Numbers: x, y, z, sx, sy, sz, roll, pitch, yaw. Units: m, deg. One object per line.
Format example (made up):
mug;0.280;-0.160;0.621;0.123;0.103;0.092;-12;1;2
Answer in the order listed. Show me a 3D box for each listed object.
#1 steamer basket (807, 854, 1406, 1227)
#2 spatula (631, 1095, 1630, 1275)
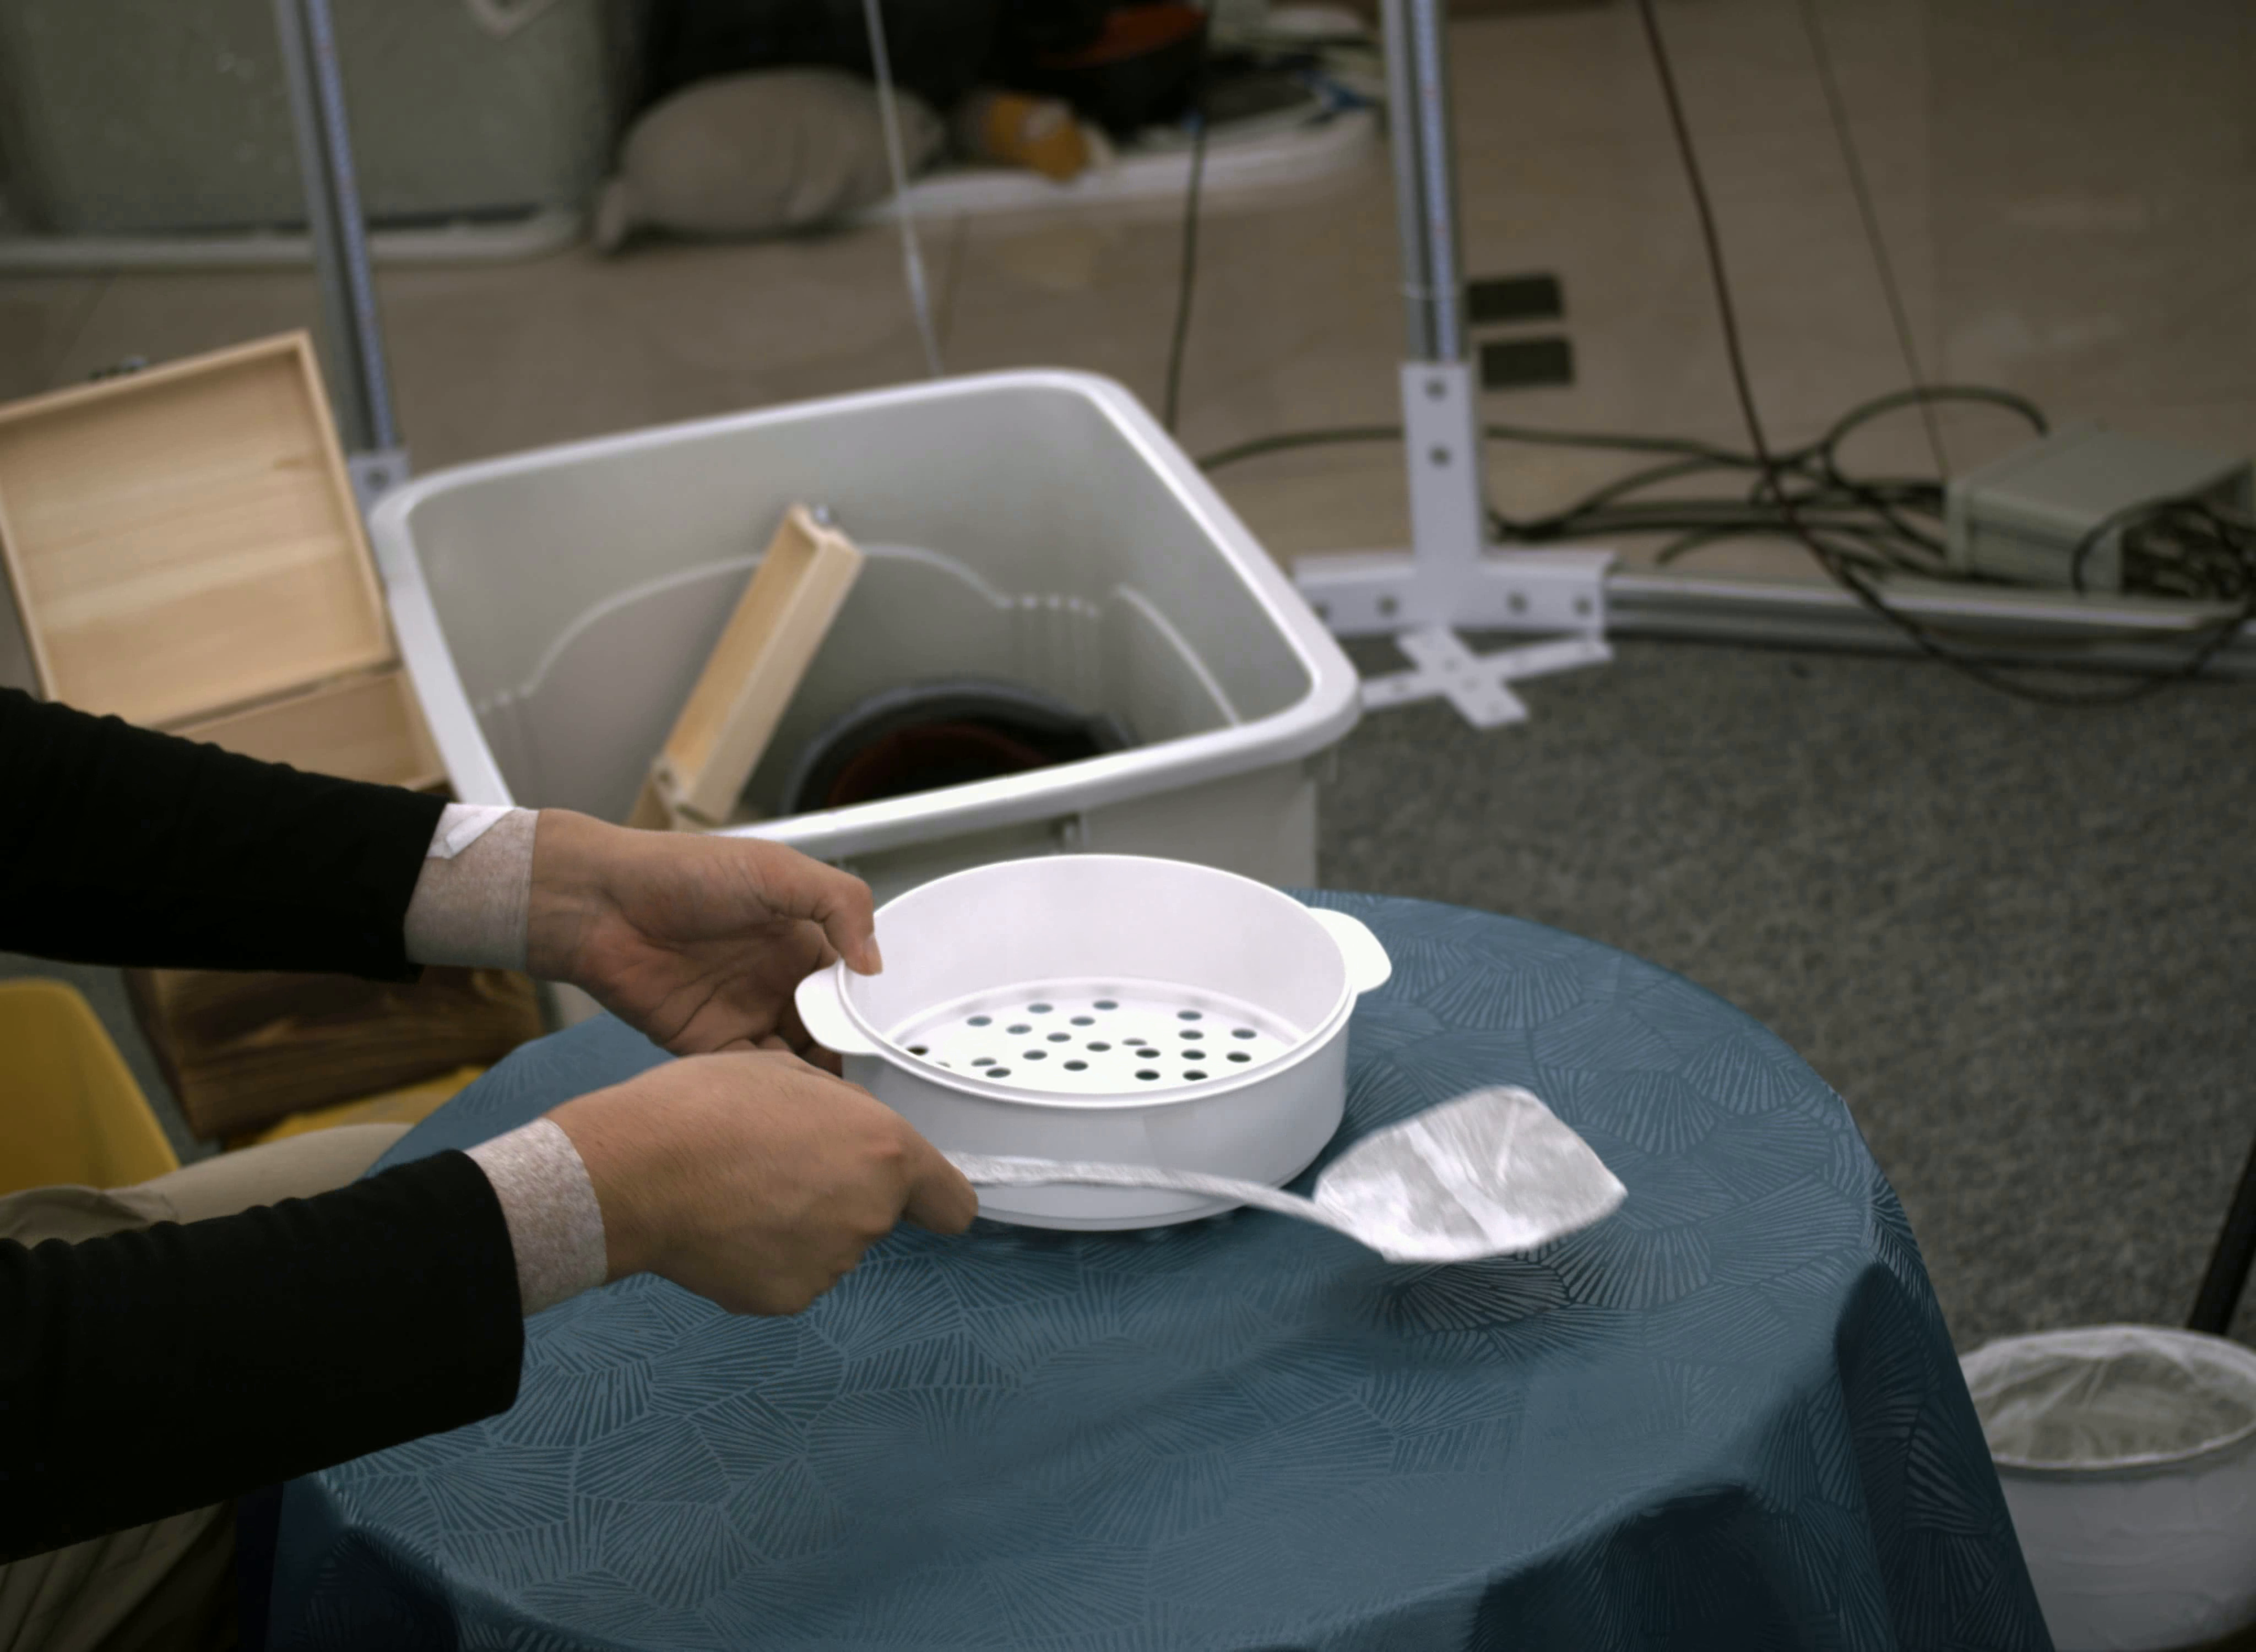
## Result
steamer basket;-0.007;0.082;2.173;0.230;0.070;0.199;-7;27;-13
spatula;0.004;0.123;1.984;0.365;0.045;0.097;5;26;-26
